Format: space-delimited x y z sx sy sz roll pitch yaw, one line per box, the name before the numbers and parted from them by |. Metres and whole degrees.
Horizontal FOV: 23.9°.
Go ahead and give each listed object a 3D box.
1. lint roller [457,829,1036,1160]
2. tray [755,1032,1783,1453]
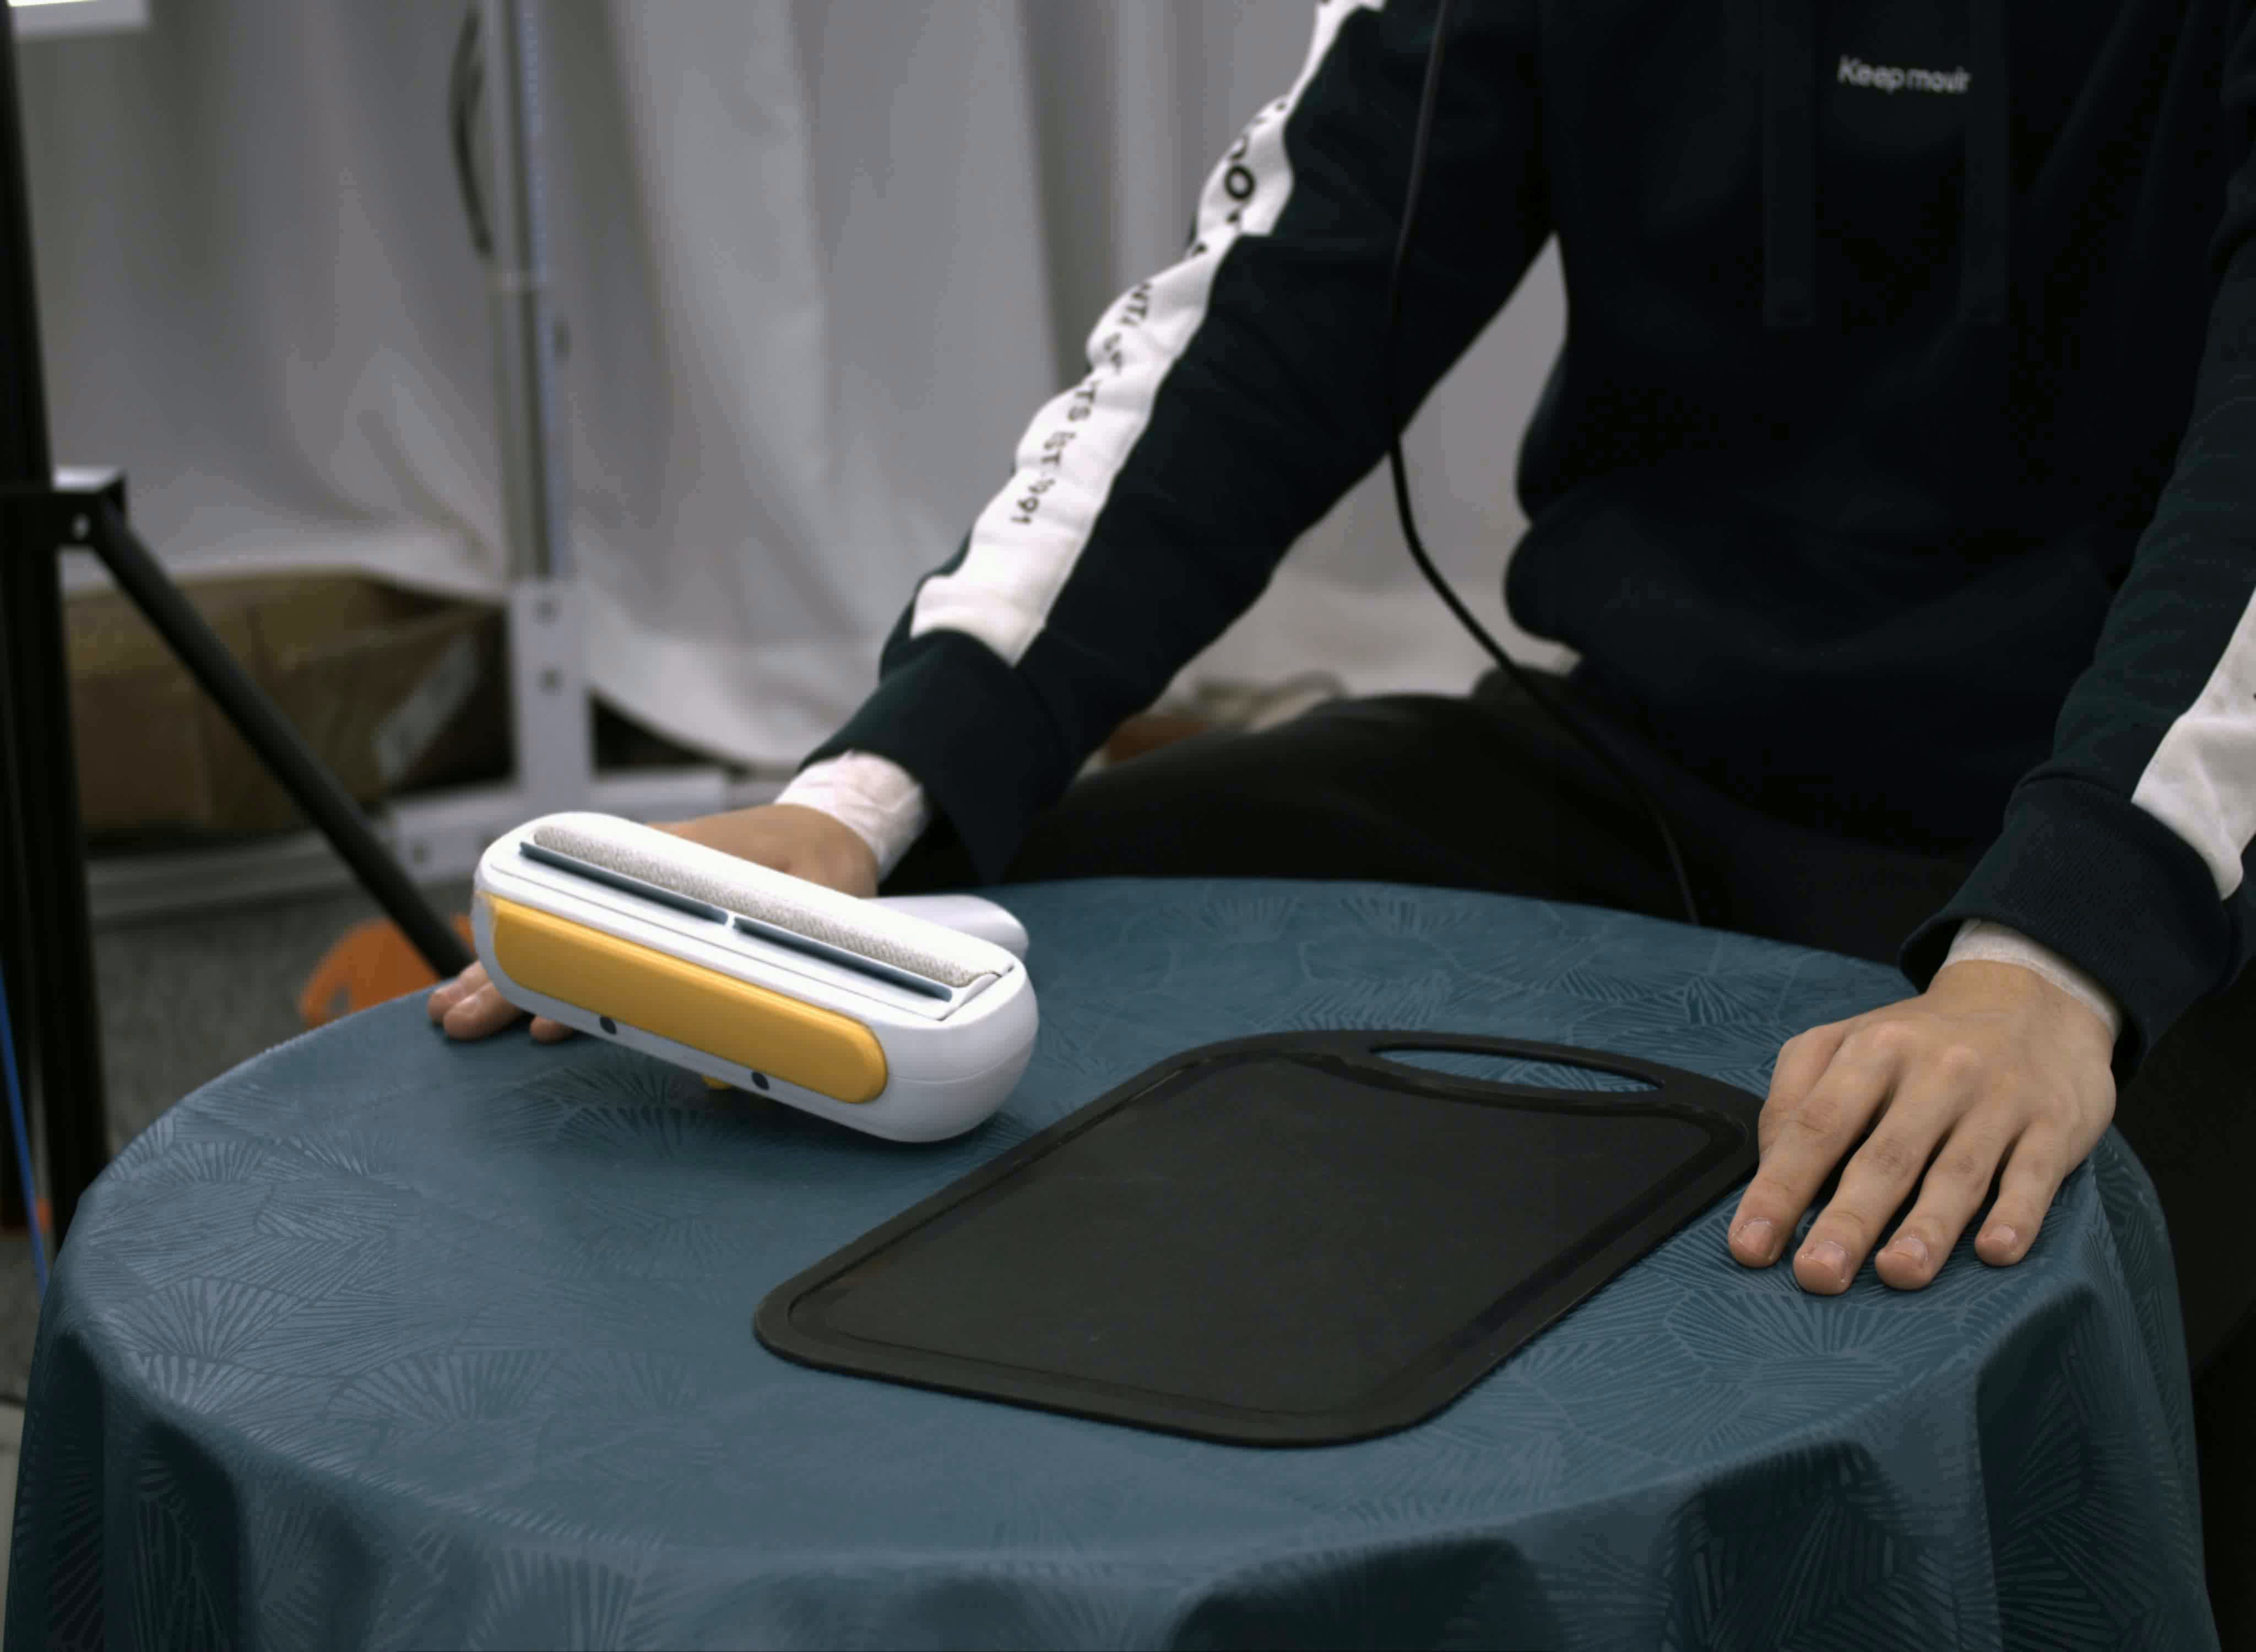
lint roller | -0.093 0.057 1.698 0.197 0.074 0.187 17 9 35
tray | 0.050 0.110 1.530 0.215 0.010 0.319 7 19 31
